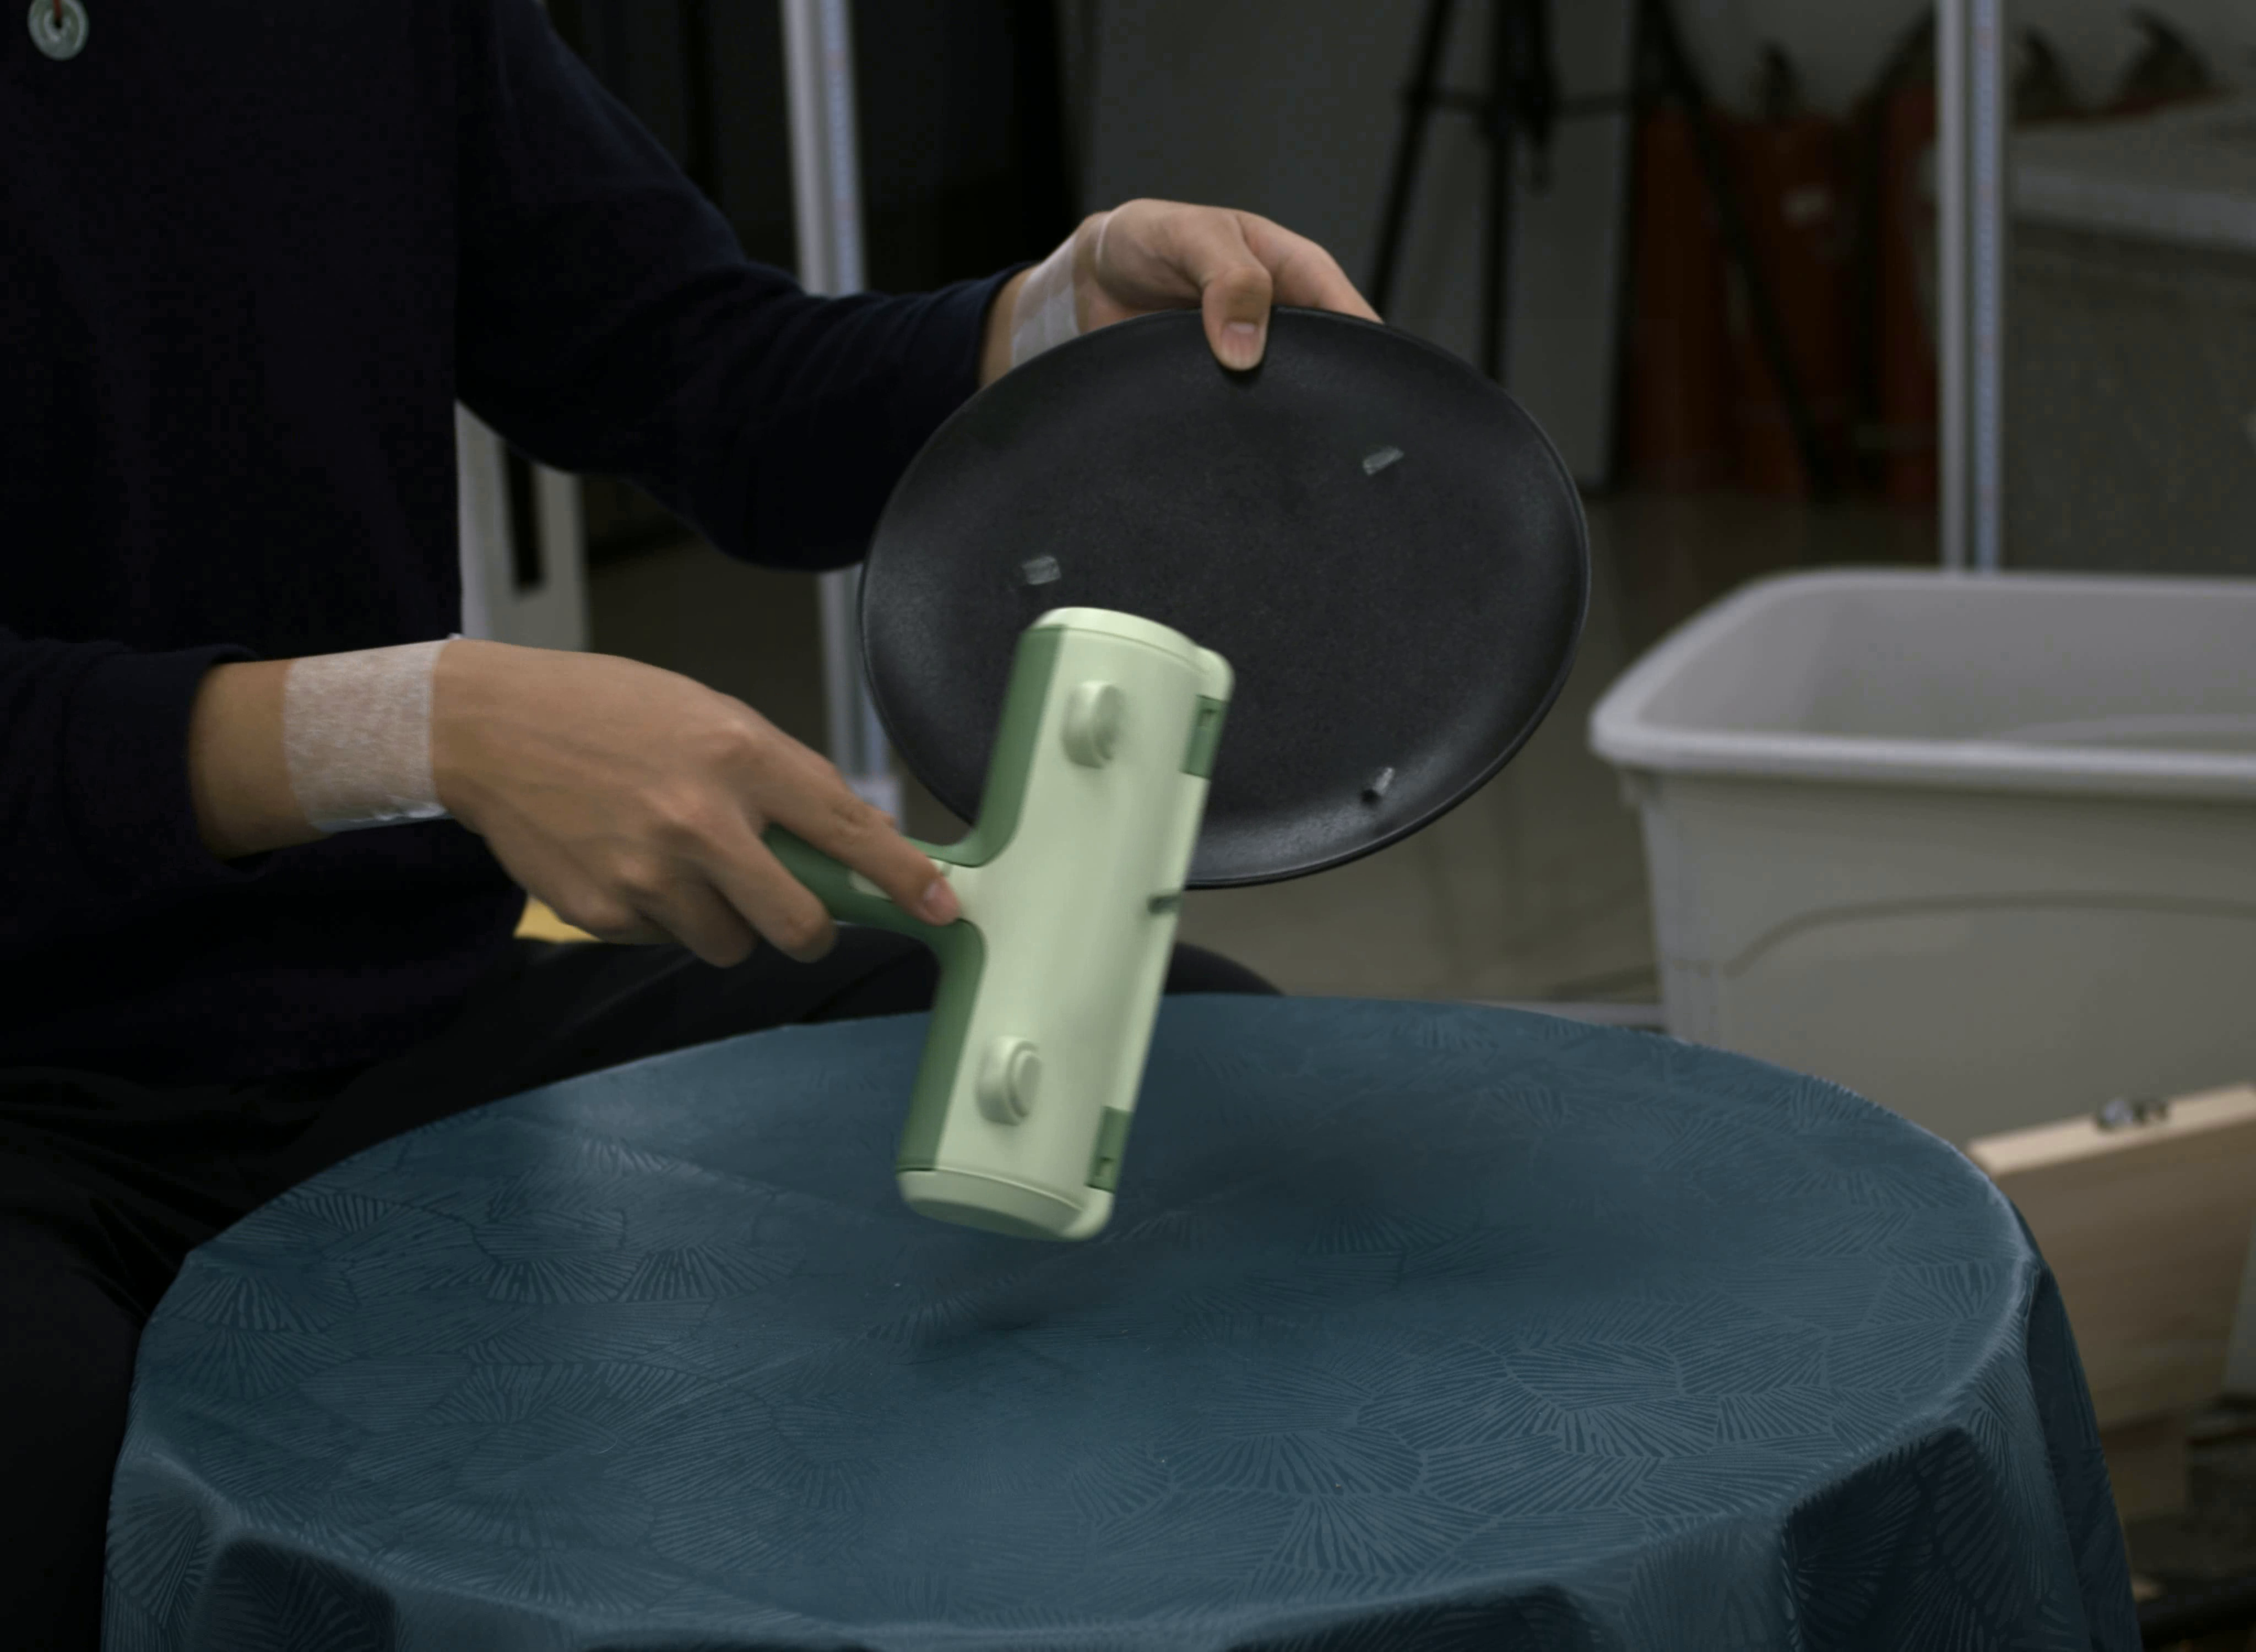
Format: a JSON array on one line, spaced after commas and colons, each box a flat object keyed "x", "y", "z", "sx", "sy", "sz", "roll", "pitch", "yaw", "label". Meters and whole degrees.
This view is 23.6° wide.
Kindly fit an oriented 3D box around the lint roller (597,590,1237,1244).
[{"x": -0.070, "y": 0.011, "z": 1.649, "sx": 0.180, "sy": 0.200, "sz": 0.082, "roll": 15, "pitch": -15, "yaw": -10, "label": "lint roller"}]

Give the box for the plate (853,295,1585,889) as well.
[{"x": 0.030, "y": -0.075, "z": 1.766, "sx": 0.242, "sy": 0.023, "sz": 0.247, "roll": -6, "pitch": 53, "yaw": 7, "label": "plate"}]
